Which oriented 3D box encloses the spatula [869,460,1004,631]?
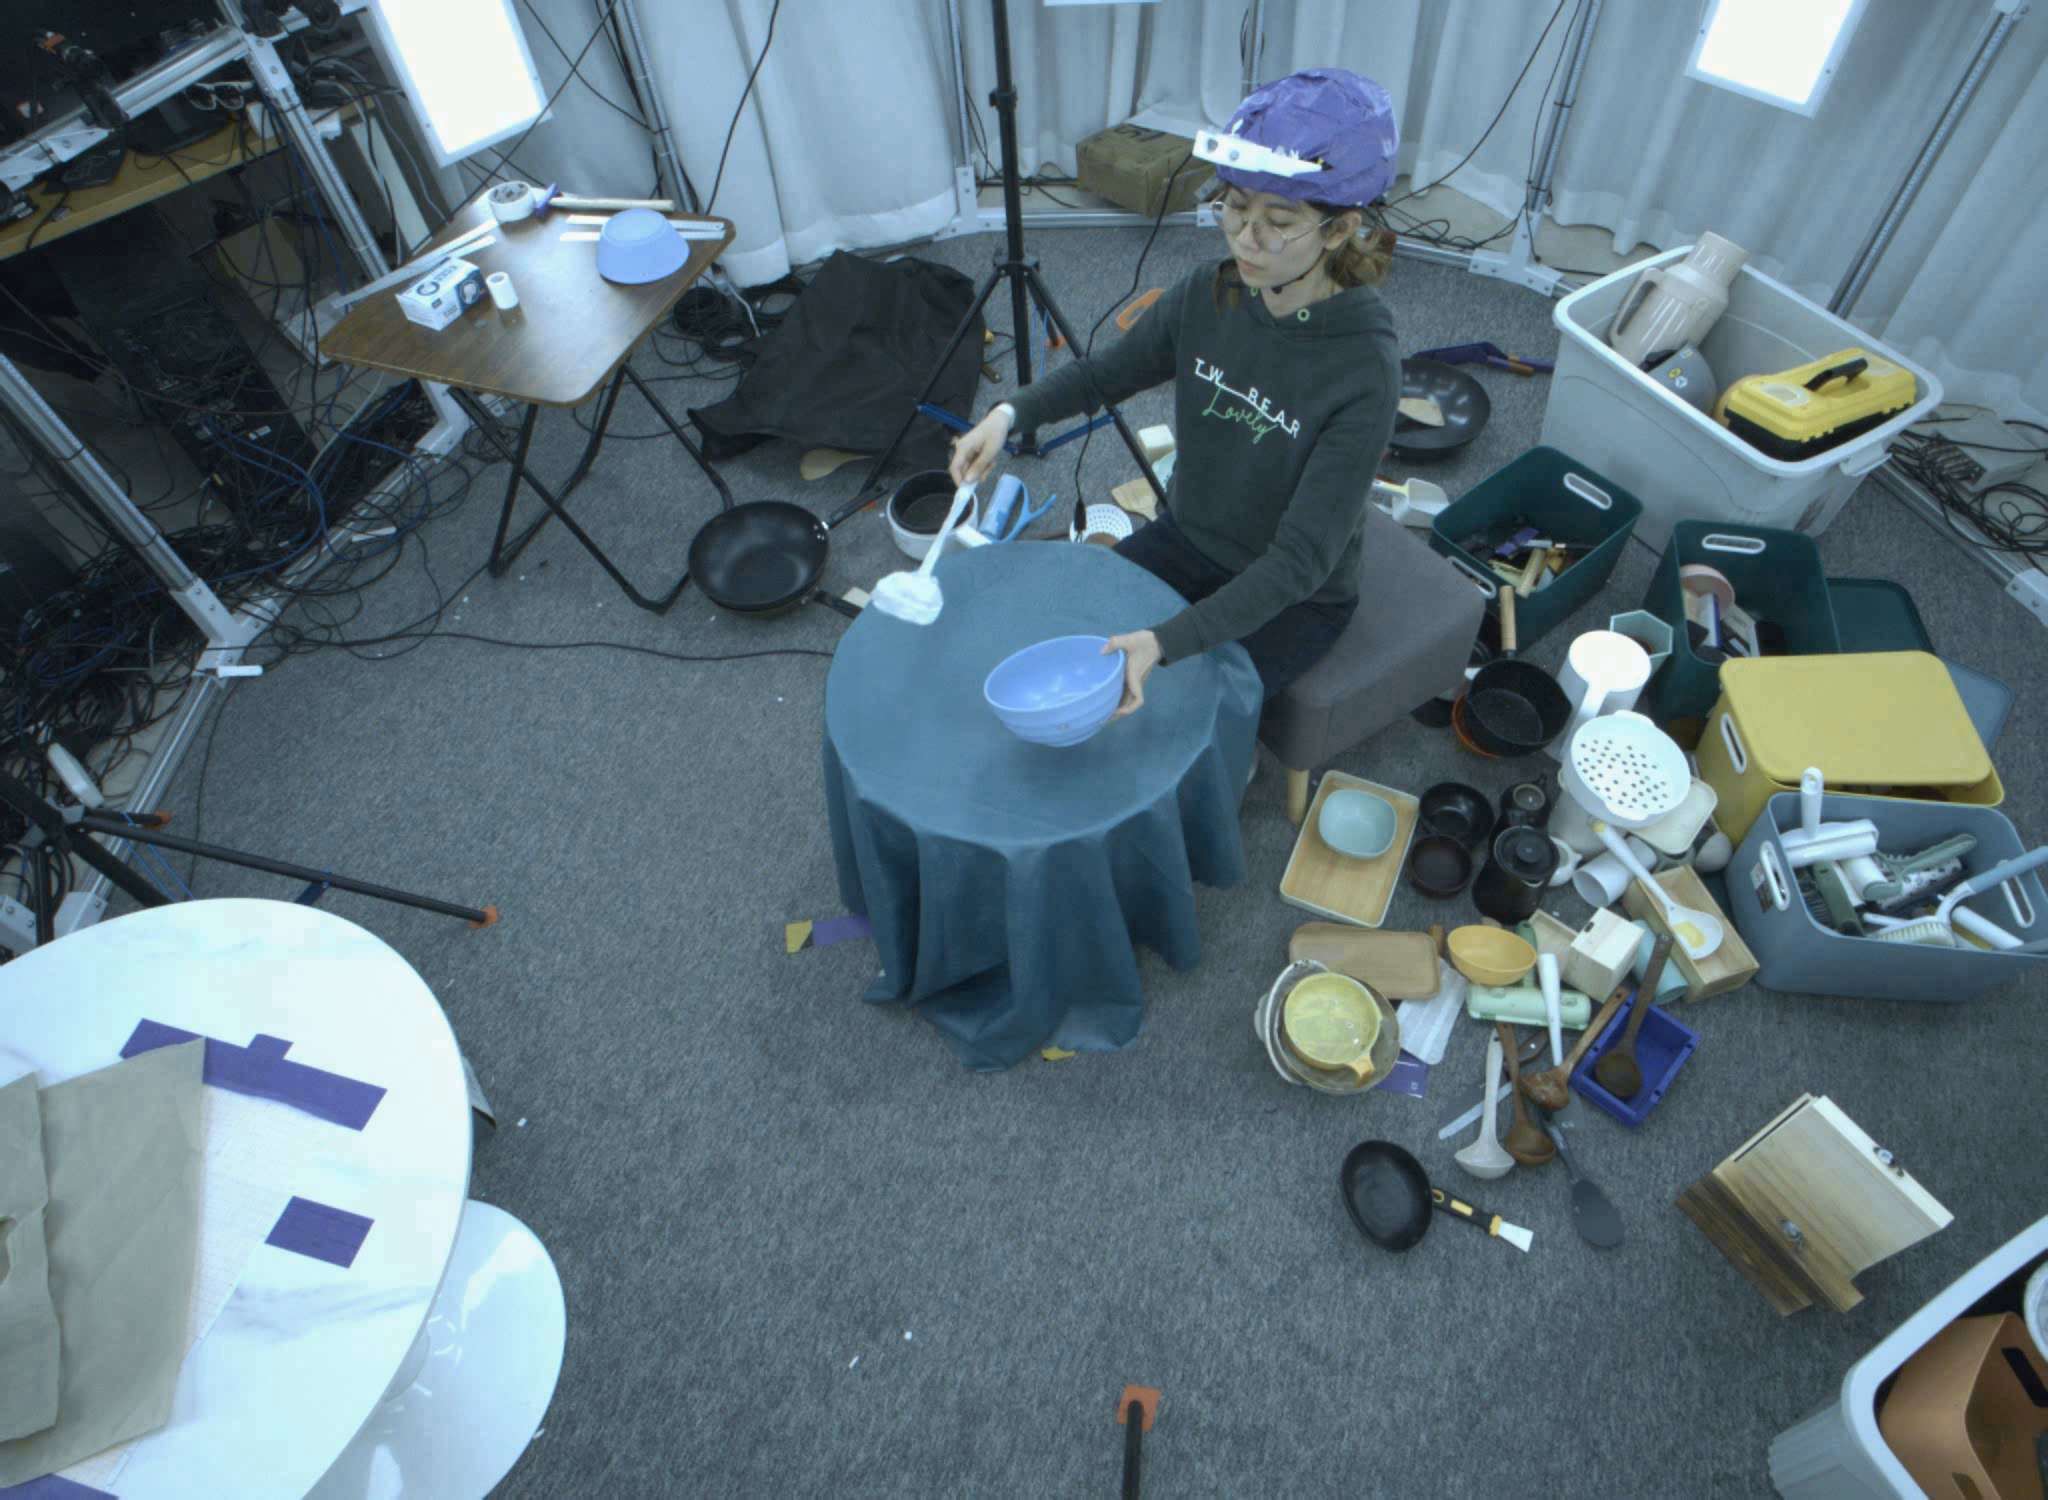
[{"bbox_3d":[-0.111,-0.316,1.789,0.098,0.045,0.364,25,65,1],"label":"spatula"}]

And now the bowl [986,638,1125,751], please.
[{"bbox_3d":[0.053,-0.064,1.700,0.195,0.097,0.194,-11,34,9],"label":"bowl"}]
